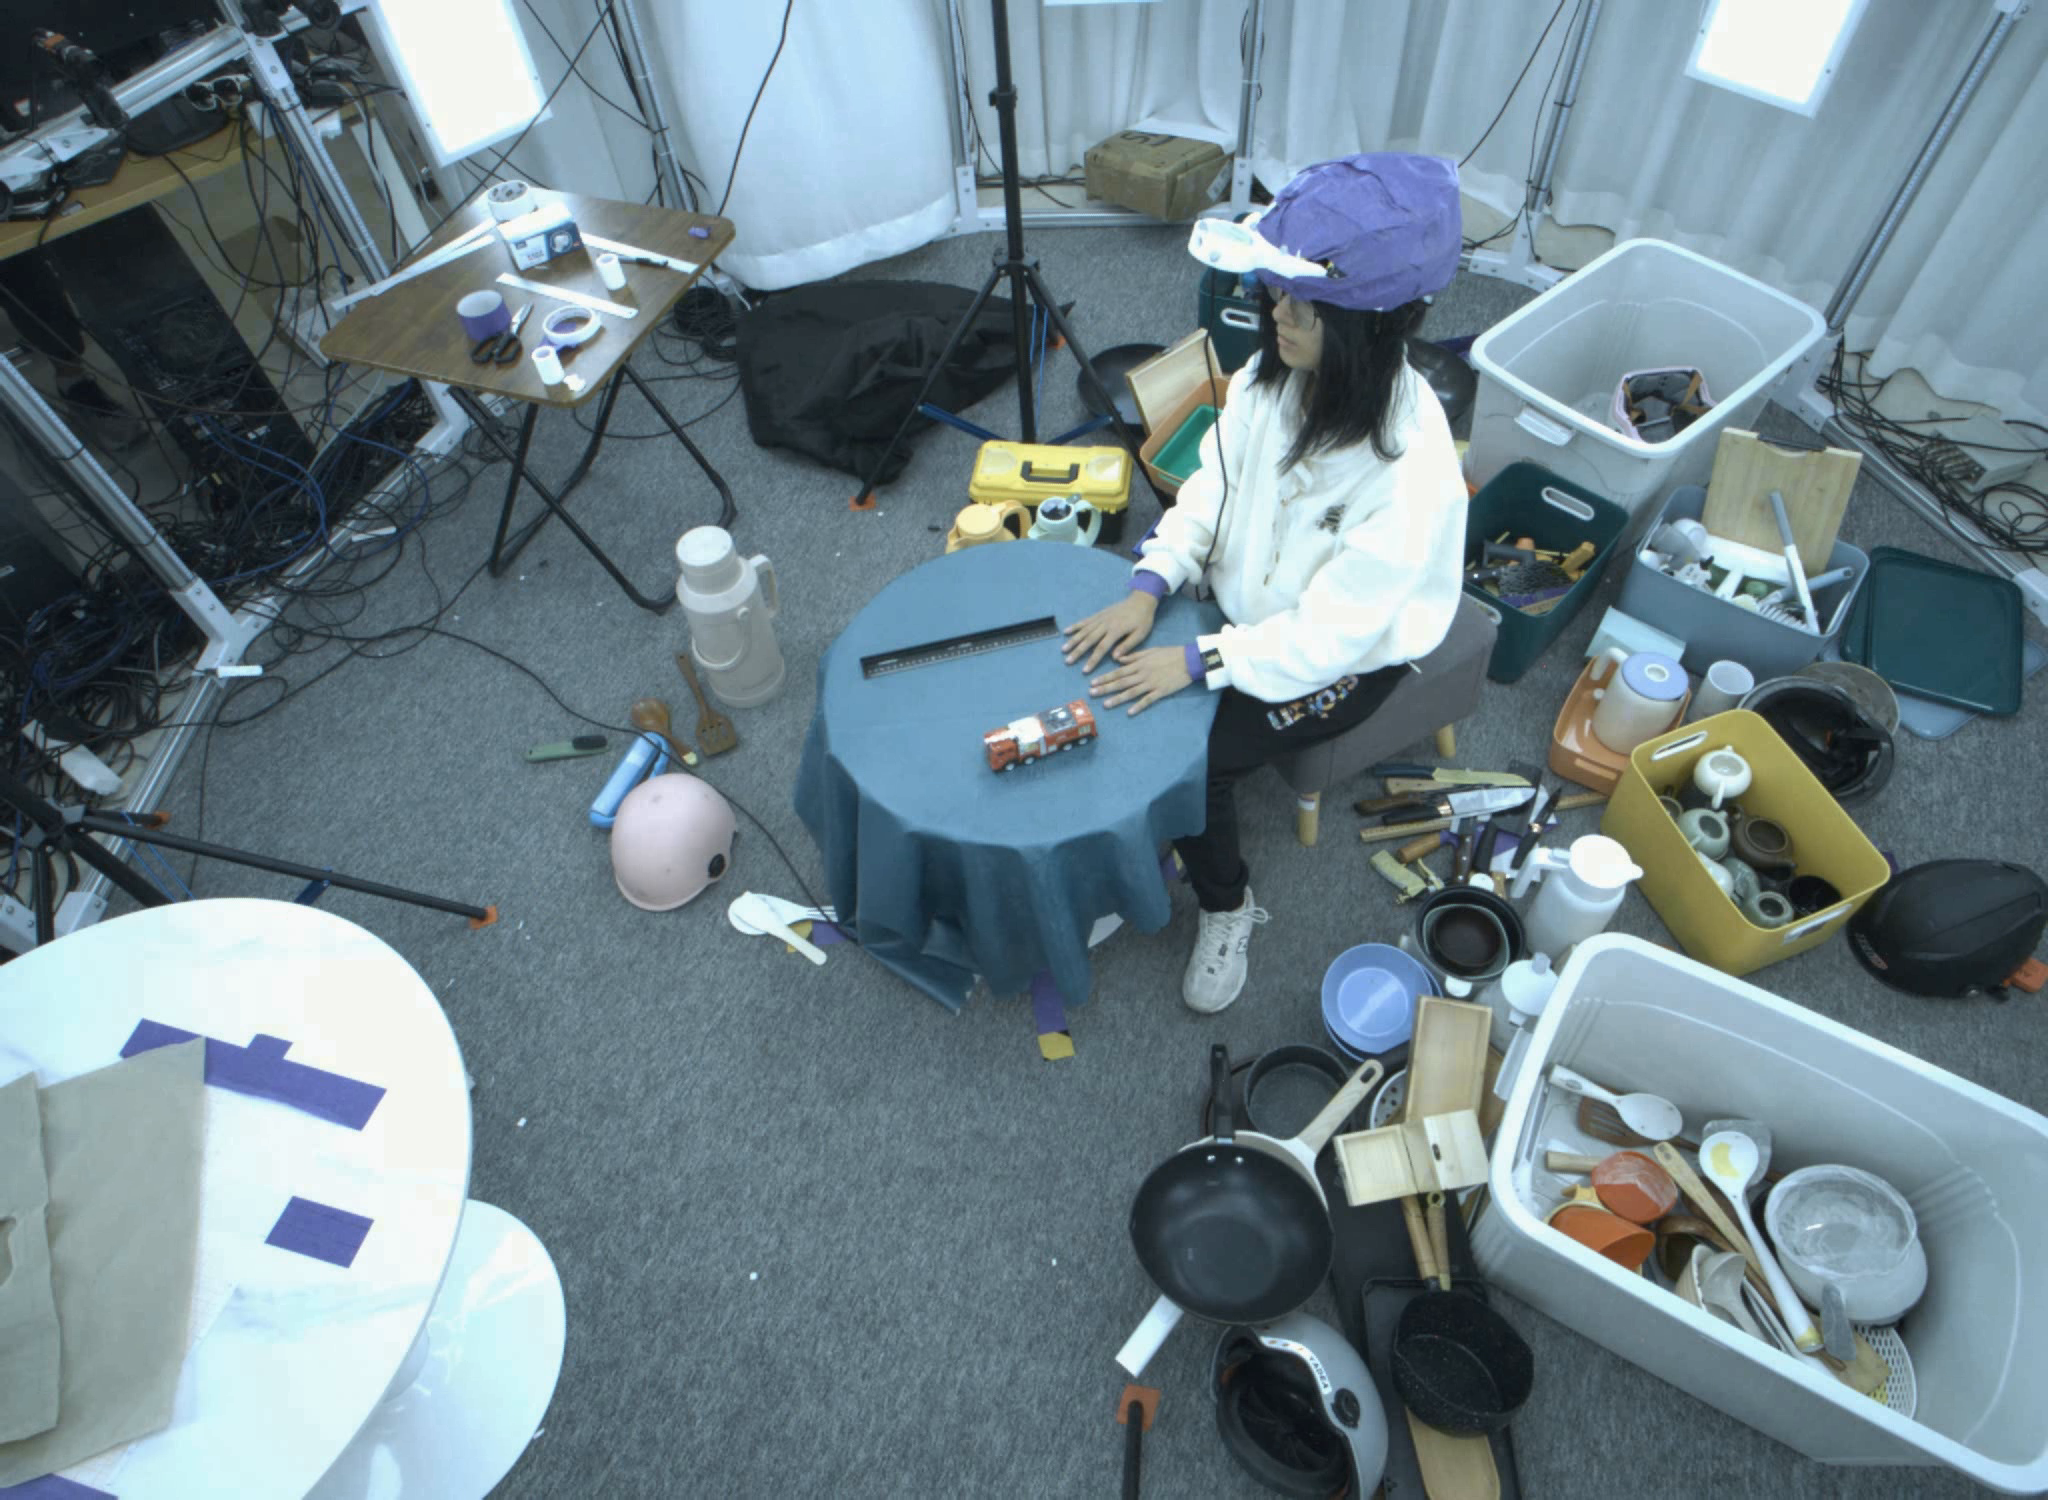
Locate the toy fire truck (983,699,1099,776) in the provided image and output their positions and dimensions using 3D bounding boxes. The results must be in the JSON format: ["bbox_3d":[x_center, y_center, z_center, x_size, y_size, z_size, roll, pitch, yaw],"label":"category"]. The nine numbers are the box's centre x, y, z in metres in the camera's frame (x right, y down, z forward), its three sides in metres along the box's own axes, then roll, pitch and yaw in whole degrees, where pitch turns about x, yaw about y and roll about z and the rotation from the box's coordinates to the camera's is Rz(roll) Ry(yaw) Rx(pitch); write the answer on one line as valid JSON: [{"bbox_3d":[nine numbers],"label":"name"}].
[{"bbox_3d":[0.022,-0.019,1.765,0.169,0.071,0.053,-18,55,-12],"label":"toy fire truck"}]

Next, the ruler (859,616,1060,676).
[{"bbox_3d":[-0.101,-0.162,1.896,0.314,0.017,0.039,-12,58,-7],"label":"ruler"}]
